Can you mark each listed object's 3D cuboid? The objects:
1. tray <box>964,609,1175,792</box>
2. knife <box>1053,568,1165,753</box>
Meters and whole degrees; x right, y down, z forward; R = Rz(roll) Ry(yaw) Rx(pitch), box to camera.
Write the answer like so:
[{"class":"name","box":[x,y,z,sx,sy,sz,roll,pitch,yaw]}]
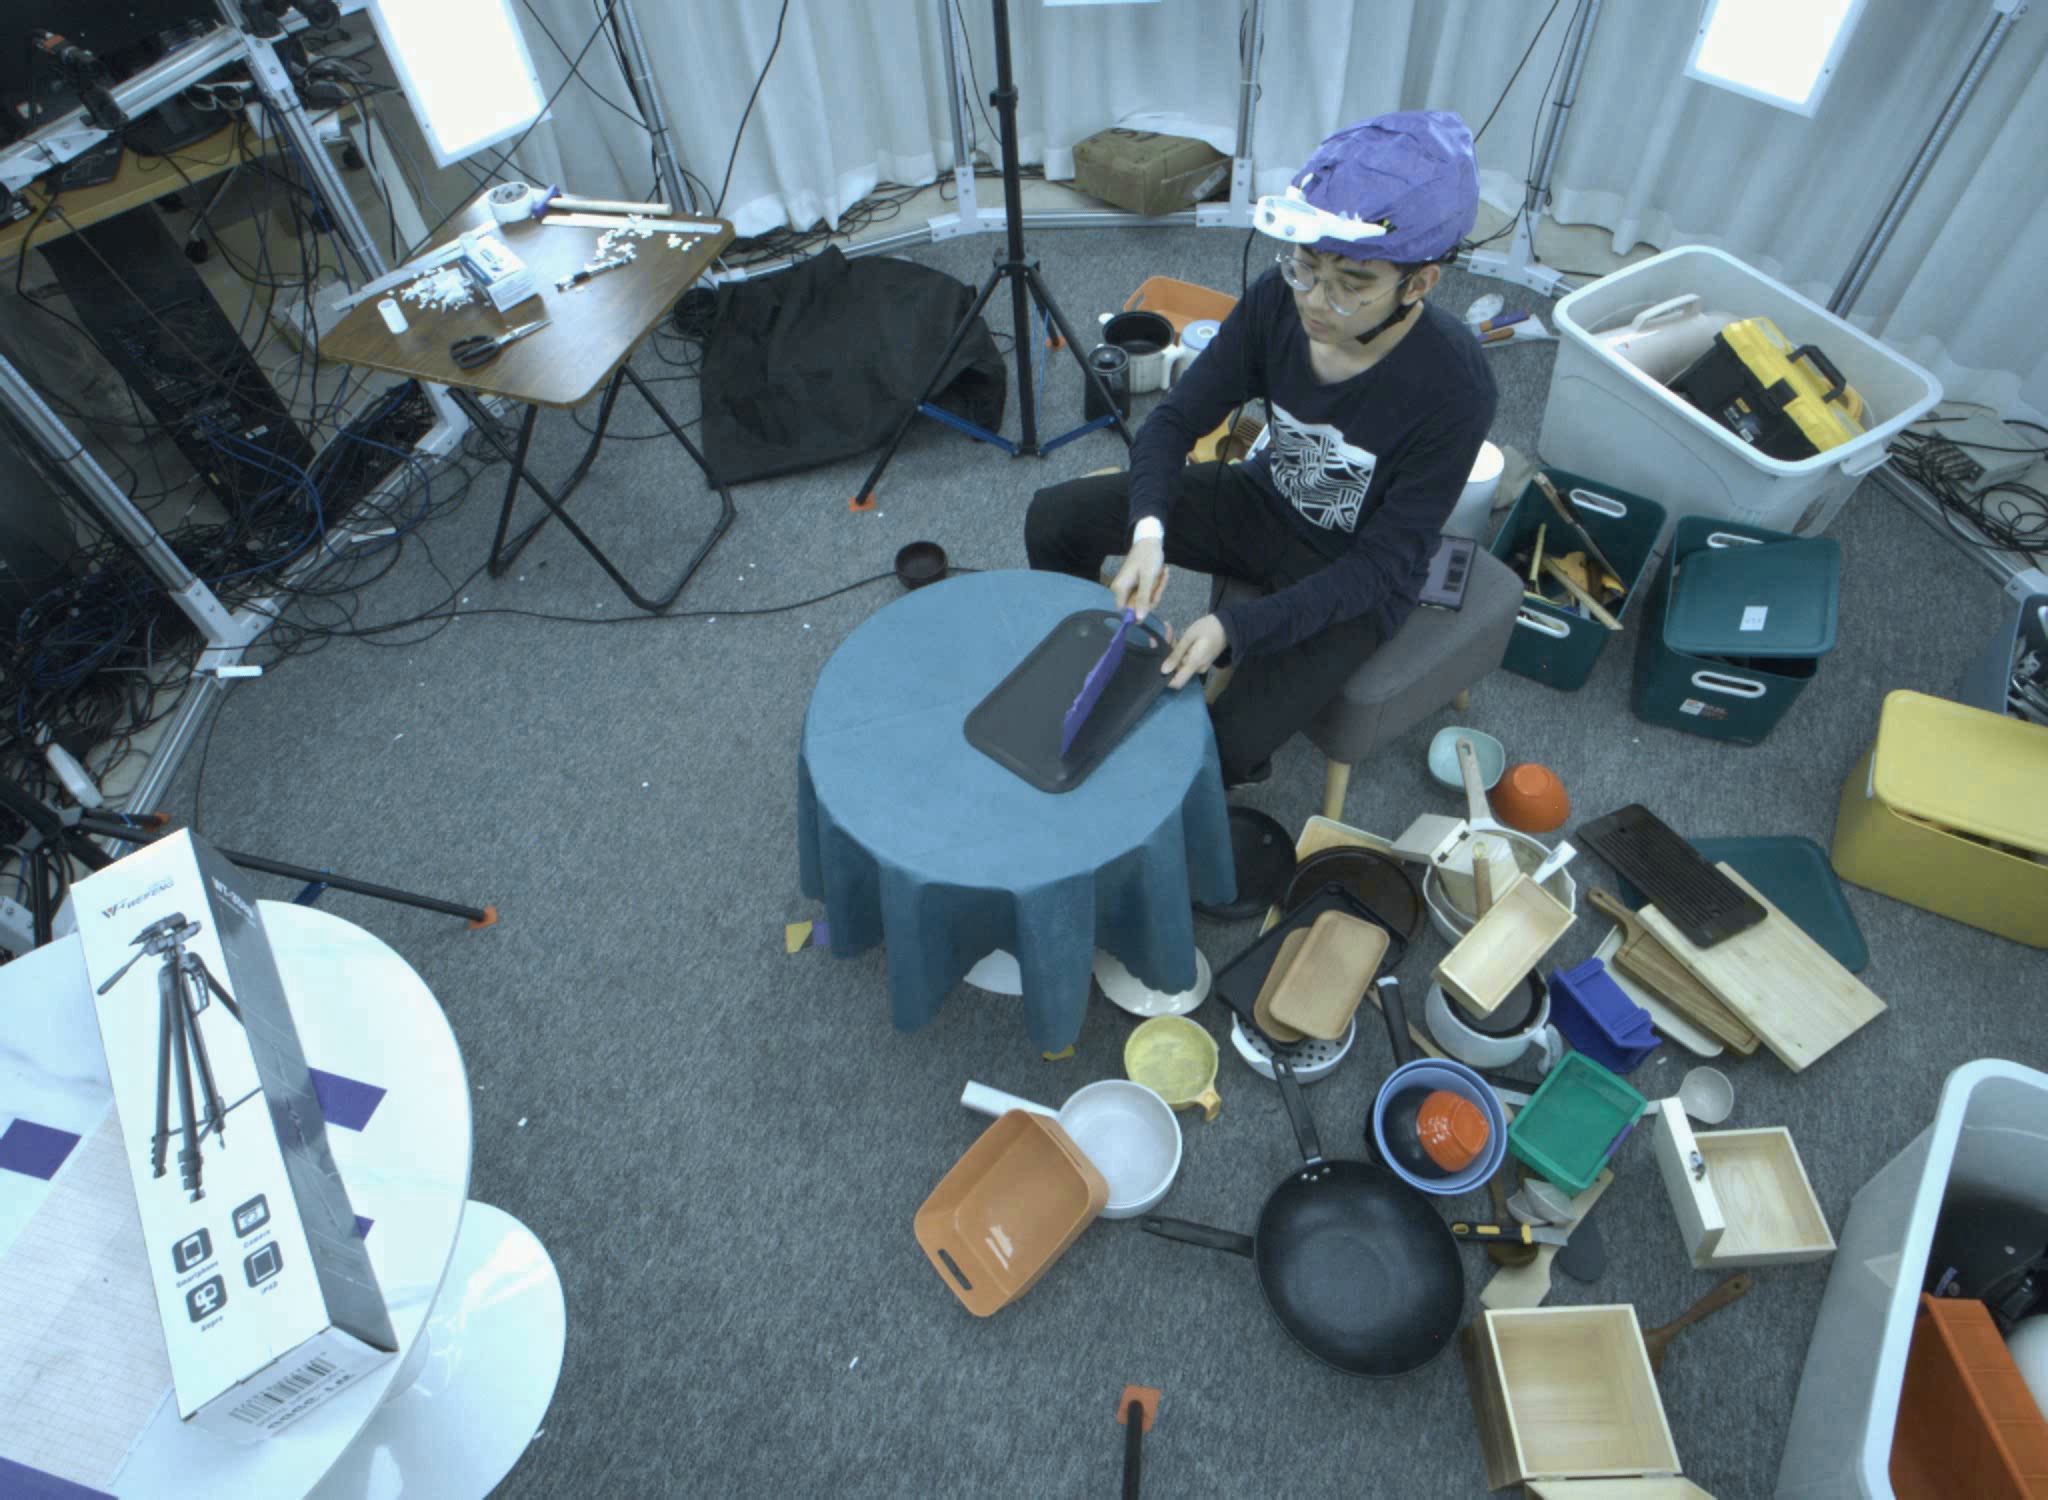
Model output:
[{"class":"tray","box":[0.074,-0.087,1.841,0.207,0.010,0.327,34,66,23]},{"class":"knife","box":[0.121,-0.133,1.807,0.032,0.104,0.316,28,64,13]}]
